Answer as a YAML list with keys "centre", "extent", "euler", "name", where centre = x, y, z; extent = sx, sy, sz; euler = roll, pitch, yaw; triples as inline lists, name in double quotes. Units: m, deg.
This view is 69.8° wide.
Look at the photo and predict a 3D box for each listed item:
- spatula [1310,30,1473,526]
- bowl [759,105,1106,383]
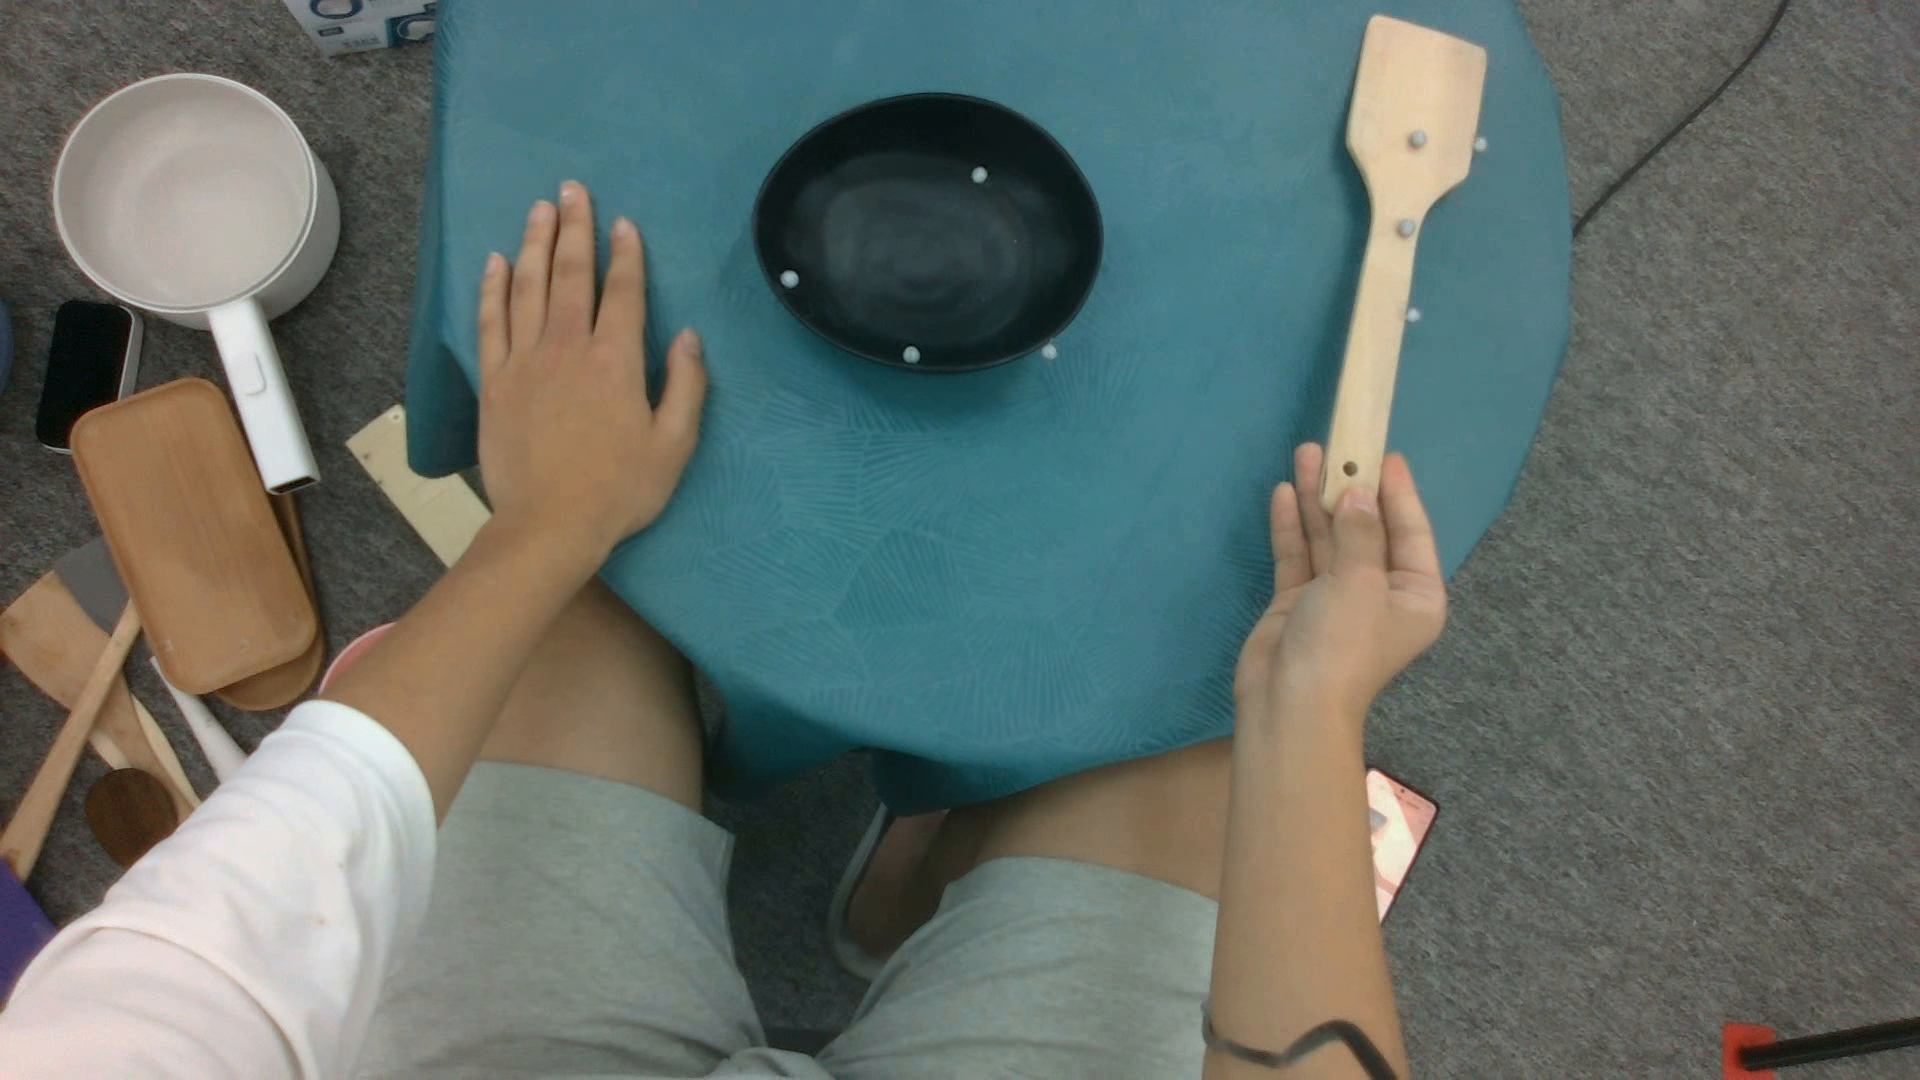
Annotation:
- centre: [0.222, -0.142, 0.729]
  extent: [0.072, 0.010, 0.294]
  euler: [16, 72, -4]
  name: "spatula"
- centre: [-0.015, -0.141, 0.695]
  extent: [0.170, 0.066, 0.137]
  euler: [-1, 84, -4]
  name: "bowl"
